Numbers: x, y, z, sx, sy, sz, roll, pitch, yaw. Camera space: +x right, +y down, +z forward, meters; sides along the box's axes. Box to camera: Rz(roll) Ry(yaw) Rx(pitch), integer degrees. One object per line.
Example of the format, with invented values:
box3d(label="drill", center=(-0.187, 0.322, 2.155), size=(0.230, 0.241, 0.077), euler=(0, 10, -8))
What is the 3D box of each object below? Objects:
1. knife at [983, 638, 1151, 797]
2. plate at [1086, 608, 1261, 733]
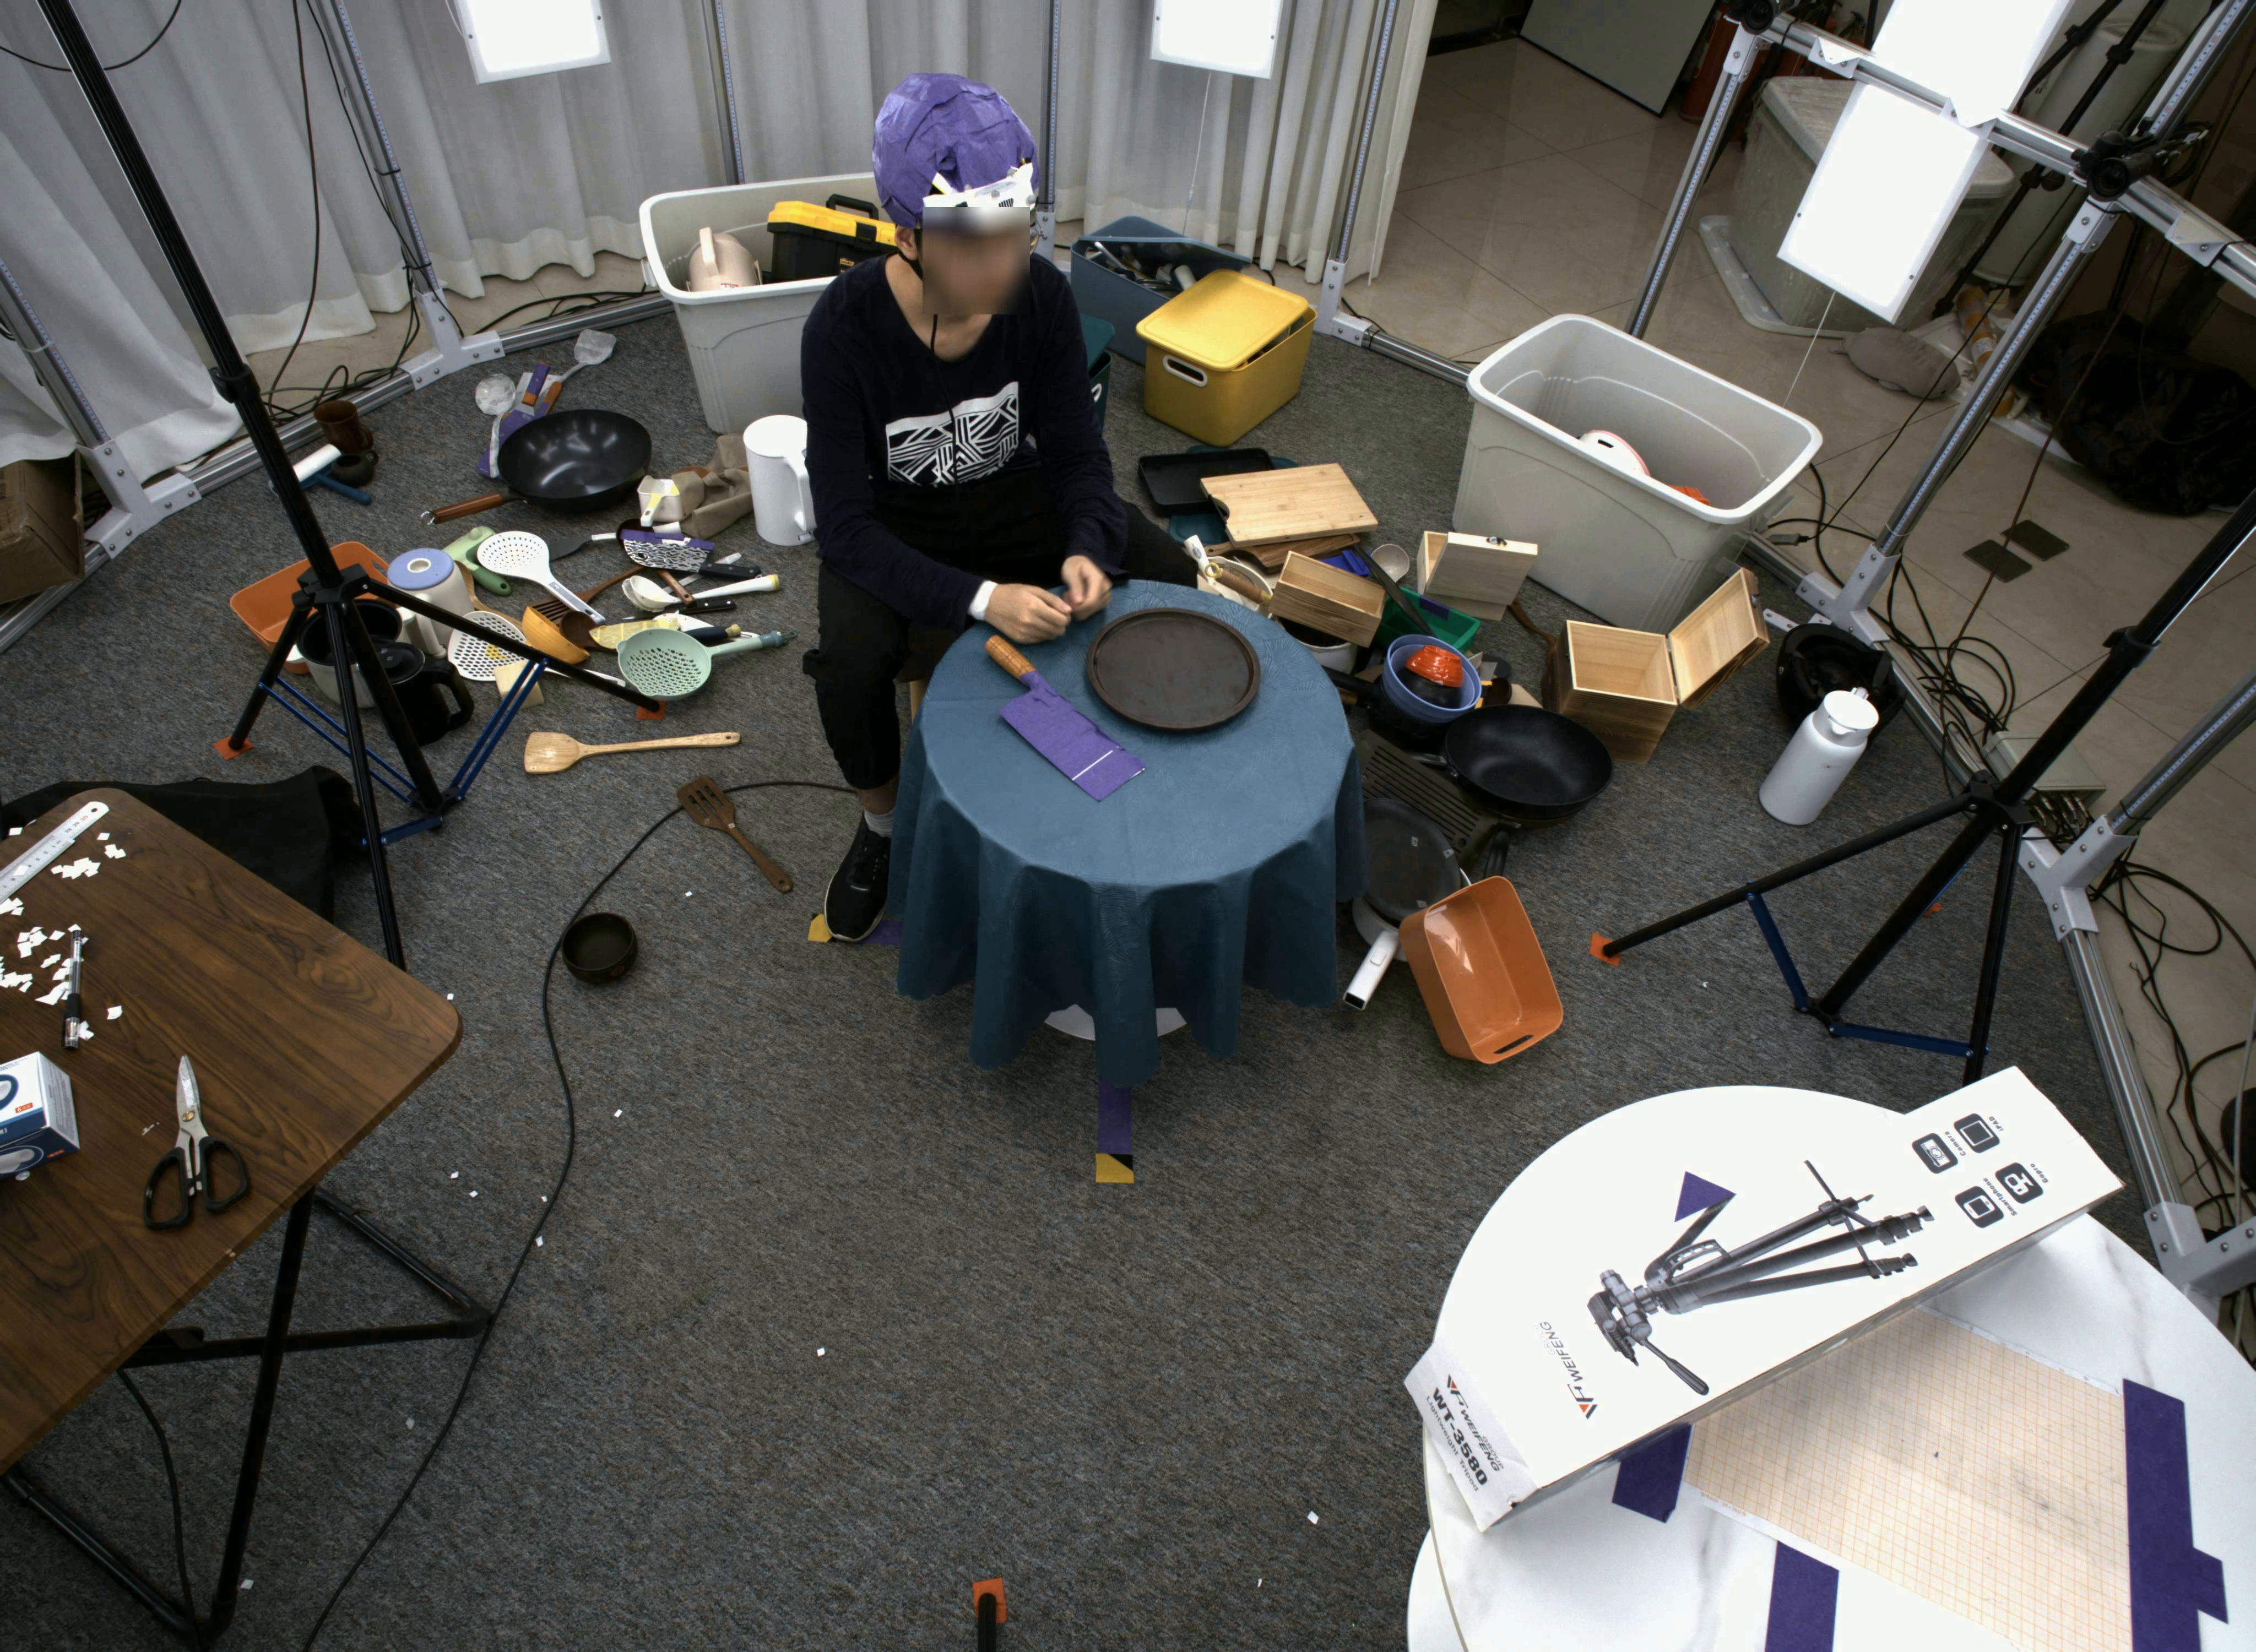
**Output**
box3d(label="knife", center=(-0.112, -0.154, 1.775), size=(0.105, 0.031, 0.320), euler=(-34, 60, -29))
box3d(label="plate", center=(0.066, -0.226, 1.852), size=(0.254, 0.028, 0.261), euler=(2, 50, -3))
